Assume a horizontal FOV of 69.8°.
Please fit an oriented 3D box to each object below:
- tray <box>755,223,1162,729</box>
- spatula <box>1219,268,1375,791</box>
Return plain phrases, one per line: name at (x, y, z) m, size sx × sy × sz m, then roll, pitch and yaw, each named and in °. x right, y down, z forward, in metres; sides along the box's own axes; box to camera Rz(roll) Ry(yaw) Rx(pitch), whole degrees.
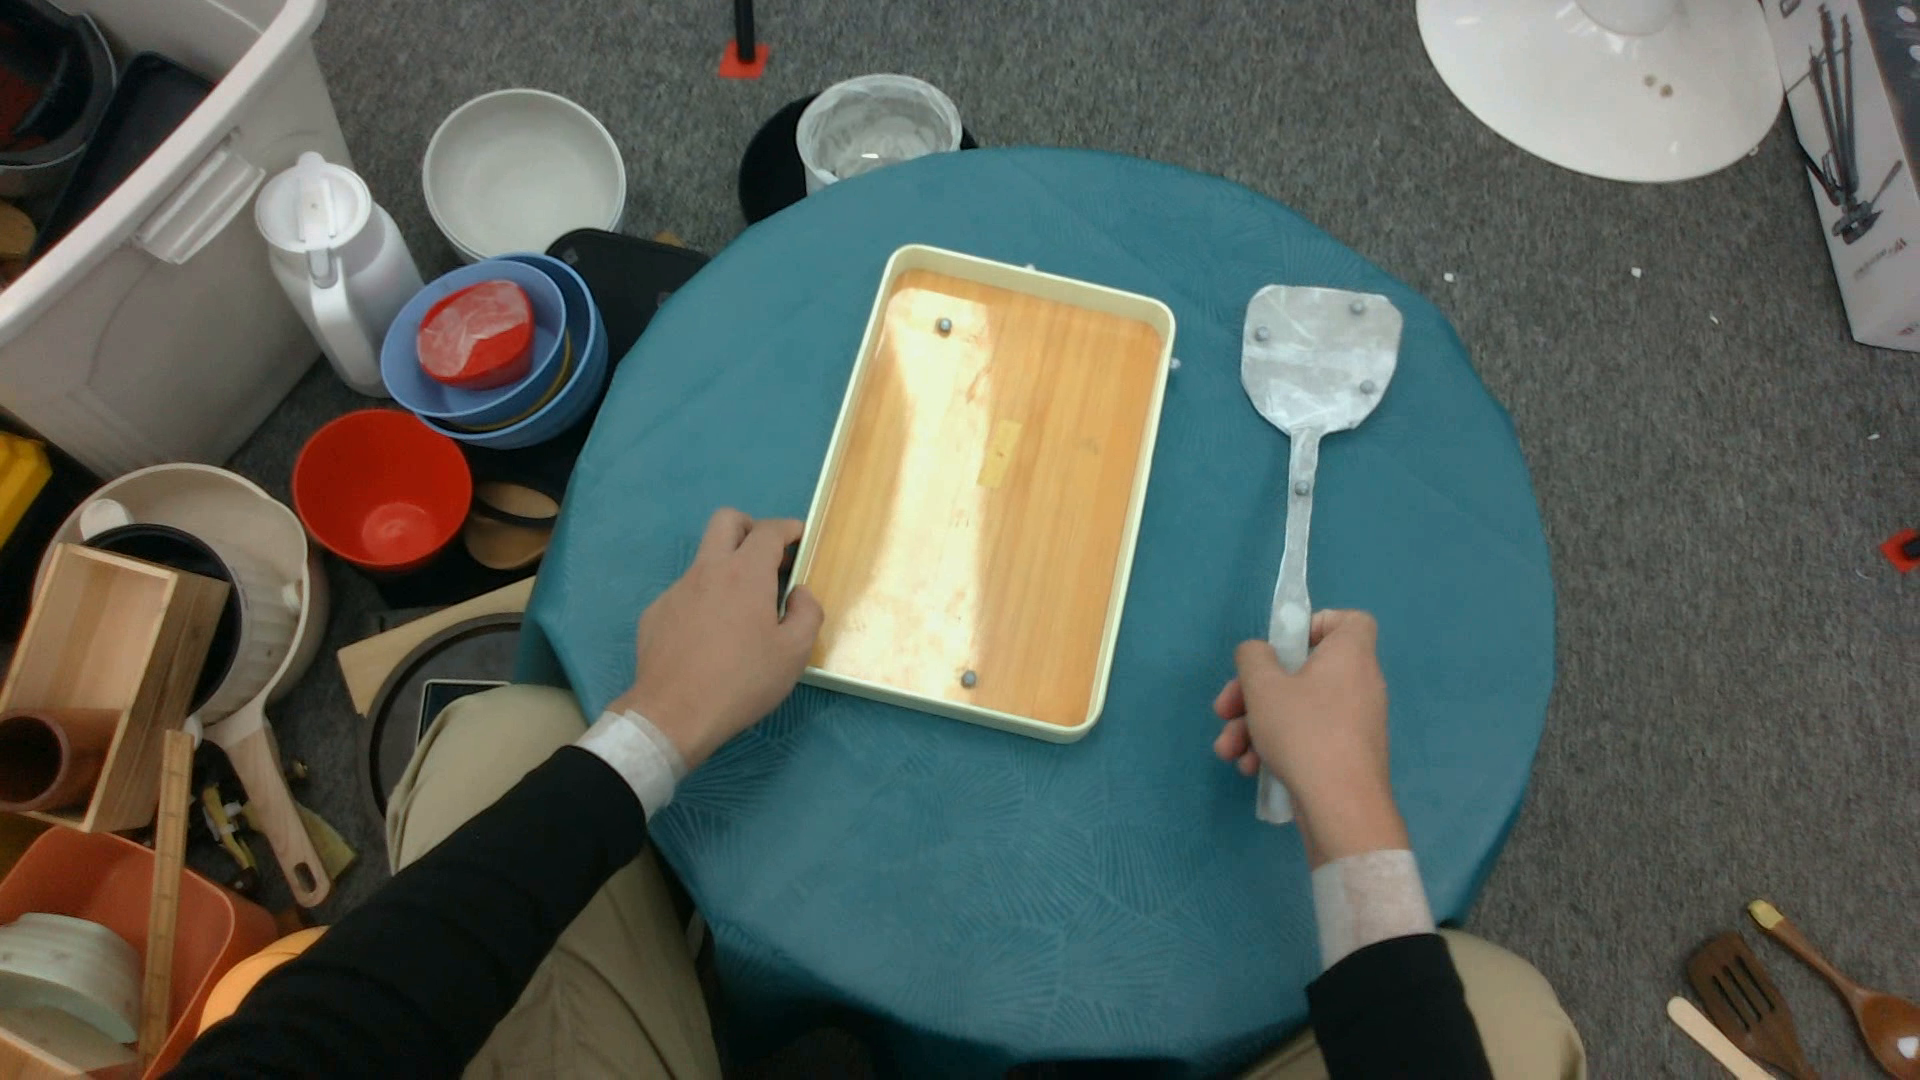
tray at (0.006, -0.048, 0.830) m, size 0.191 × 0.027 × 0.301 m, roll 14°, pitch 65°, yaw 0°
spatula at (0.189, -0.022, 0.803) m, size 0.098 × 0.044 × 0.367 m, roll 7°, pitch 52°, yaw 8°
